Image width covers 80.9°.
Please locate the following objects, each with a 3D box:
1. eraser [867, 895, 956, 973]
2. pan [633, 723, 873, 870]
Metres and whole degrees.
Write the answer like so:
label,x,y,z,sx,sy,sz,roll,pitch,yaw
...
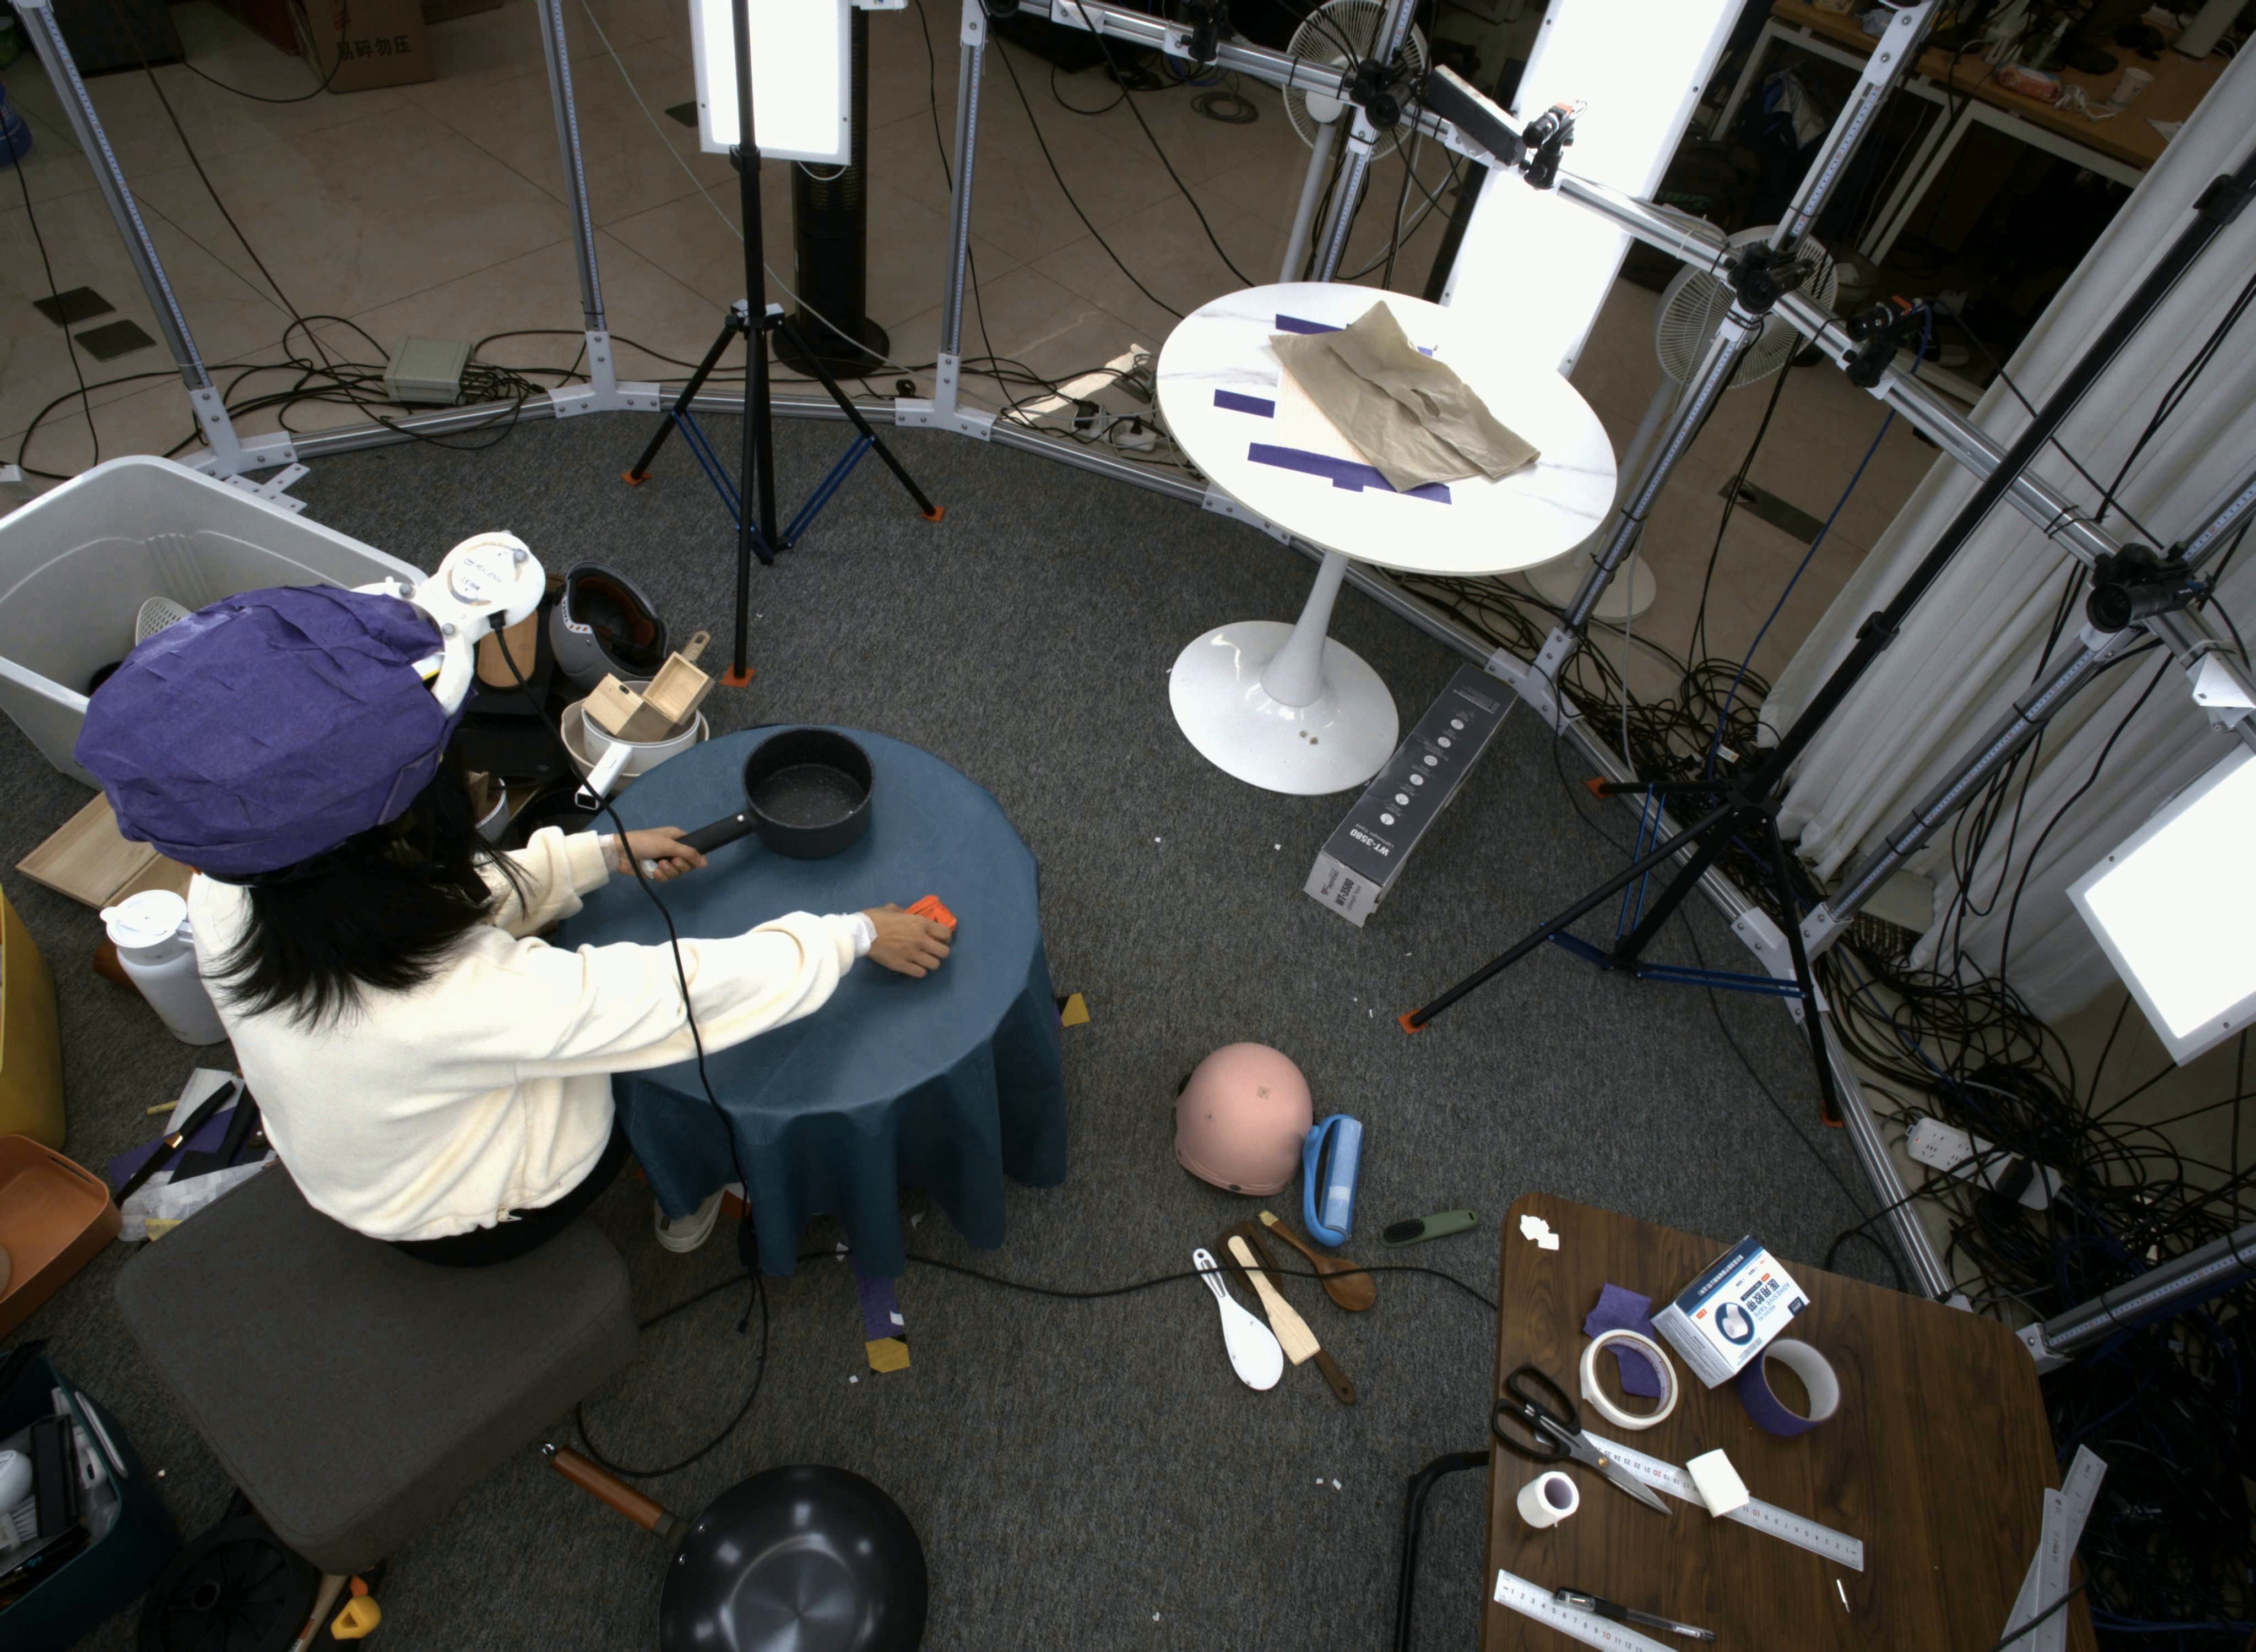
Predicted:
label,x,y,z,sx,sy,sz,roll,pitch,yaw
eraser,-0.273,0.134,1.643,0.058,0.023,0.108,43,55,18
pan,-0.478,-0.011,1.658,0.330,0.088,0.168,-31,66,-33
